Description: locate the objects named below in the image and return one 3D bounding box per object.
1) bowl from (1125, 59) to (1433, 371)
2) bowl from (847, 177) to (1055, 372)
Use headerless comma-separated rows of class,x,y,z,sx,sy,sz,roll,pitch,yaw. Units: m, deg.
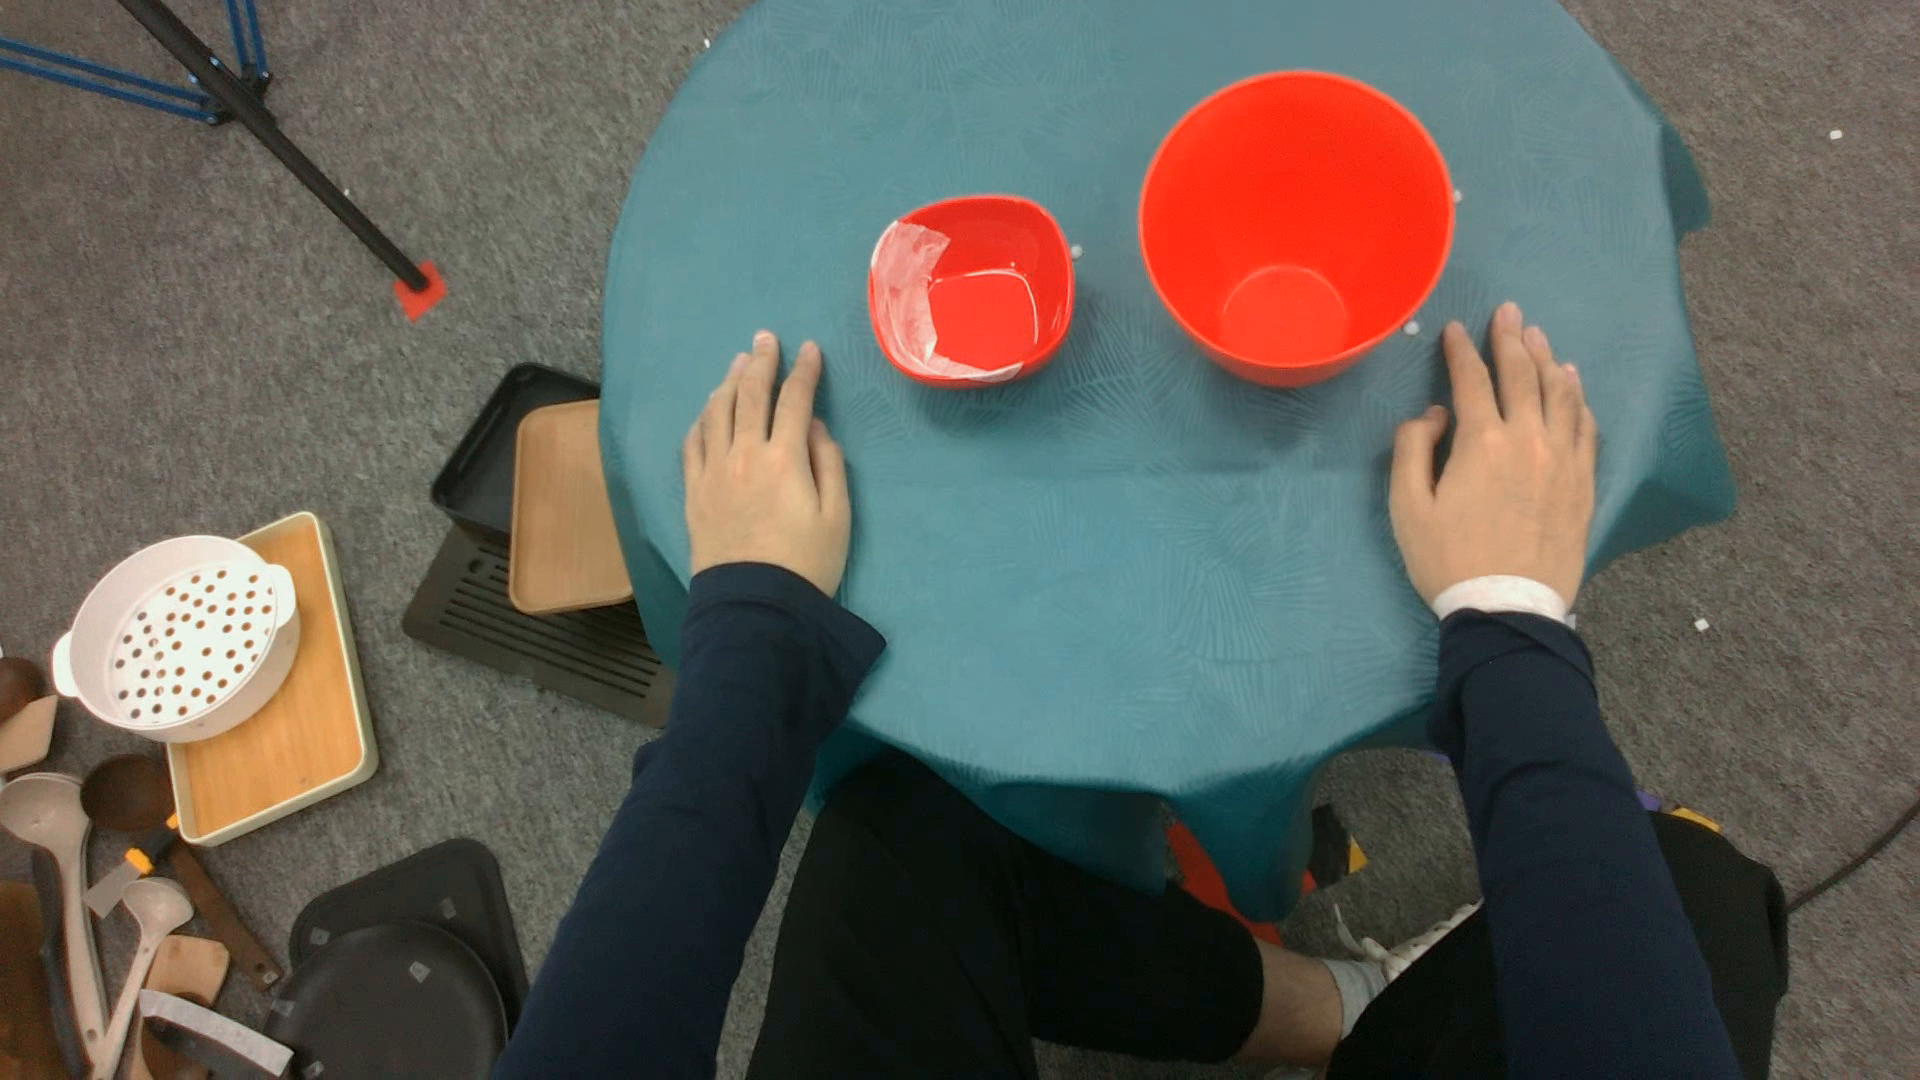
bowl,0.159,-0.152,0.705,0.148,0.104,0.148,-2,70,7
bowl,-0.003,-0.136,0.749,0.119,0.051,0.119,-2,71,6
